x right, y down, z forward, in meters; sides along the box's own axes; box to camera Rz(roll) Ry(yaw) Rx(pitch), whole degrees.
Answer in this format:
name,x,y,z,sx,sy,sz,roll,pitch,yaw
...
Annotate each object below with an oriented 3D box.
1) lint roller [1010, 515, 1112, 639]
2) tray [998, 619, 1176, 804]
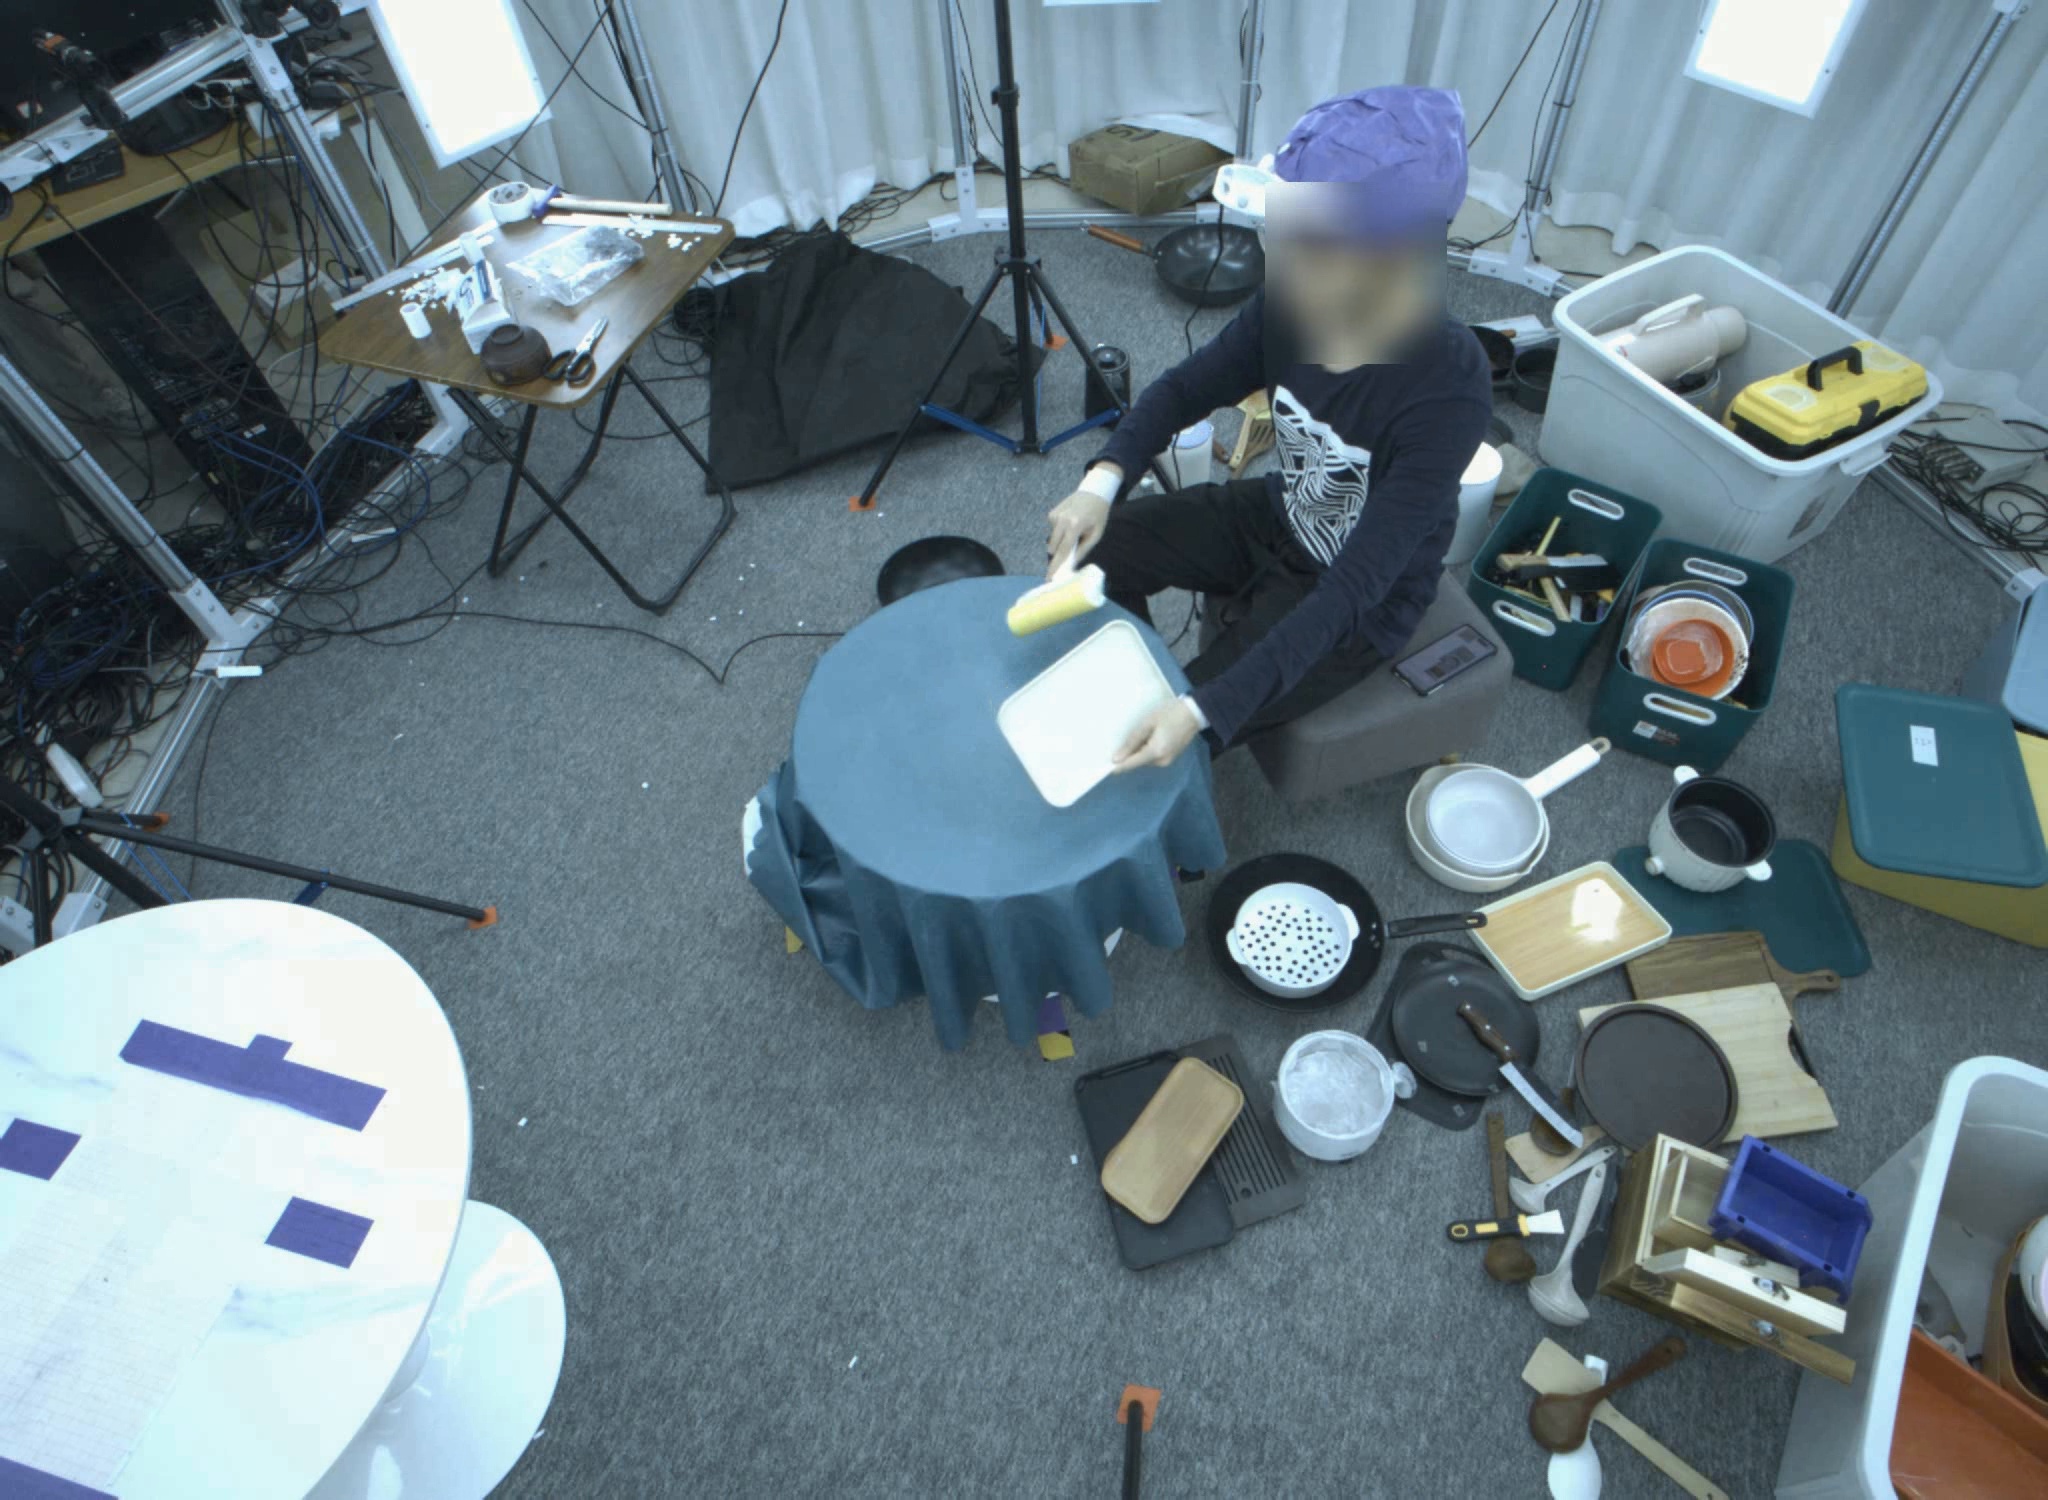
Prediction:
name,x,y,z,sx,sy,sz,roll,pitch,yaw
lint roller,0.055,-0.273,1.827,0.171,0.052,0.191,-16,64,41
tray,0.087,-0.053,1.668,0.241,0.173,0.017,-38,20,-17
